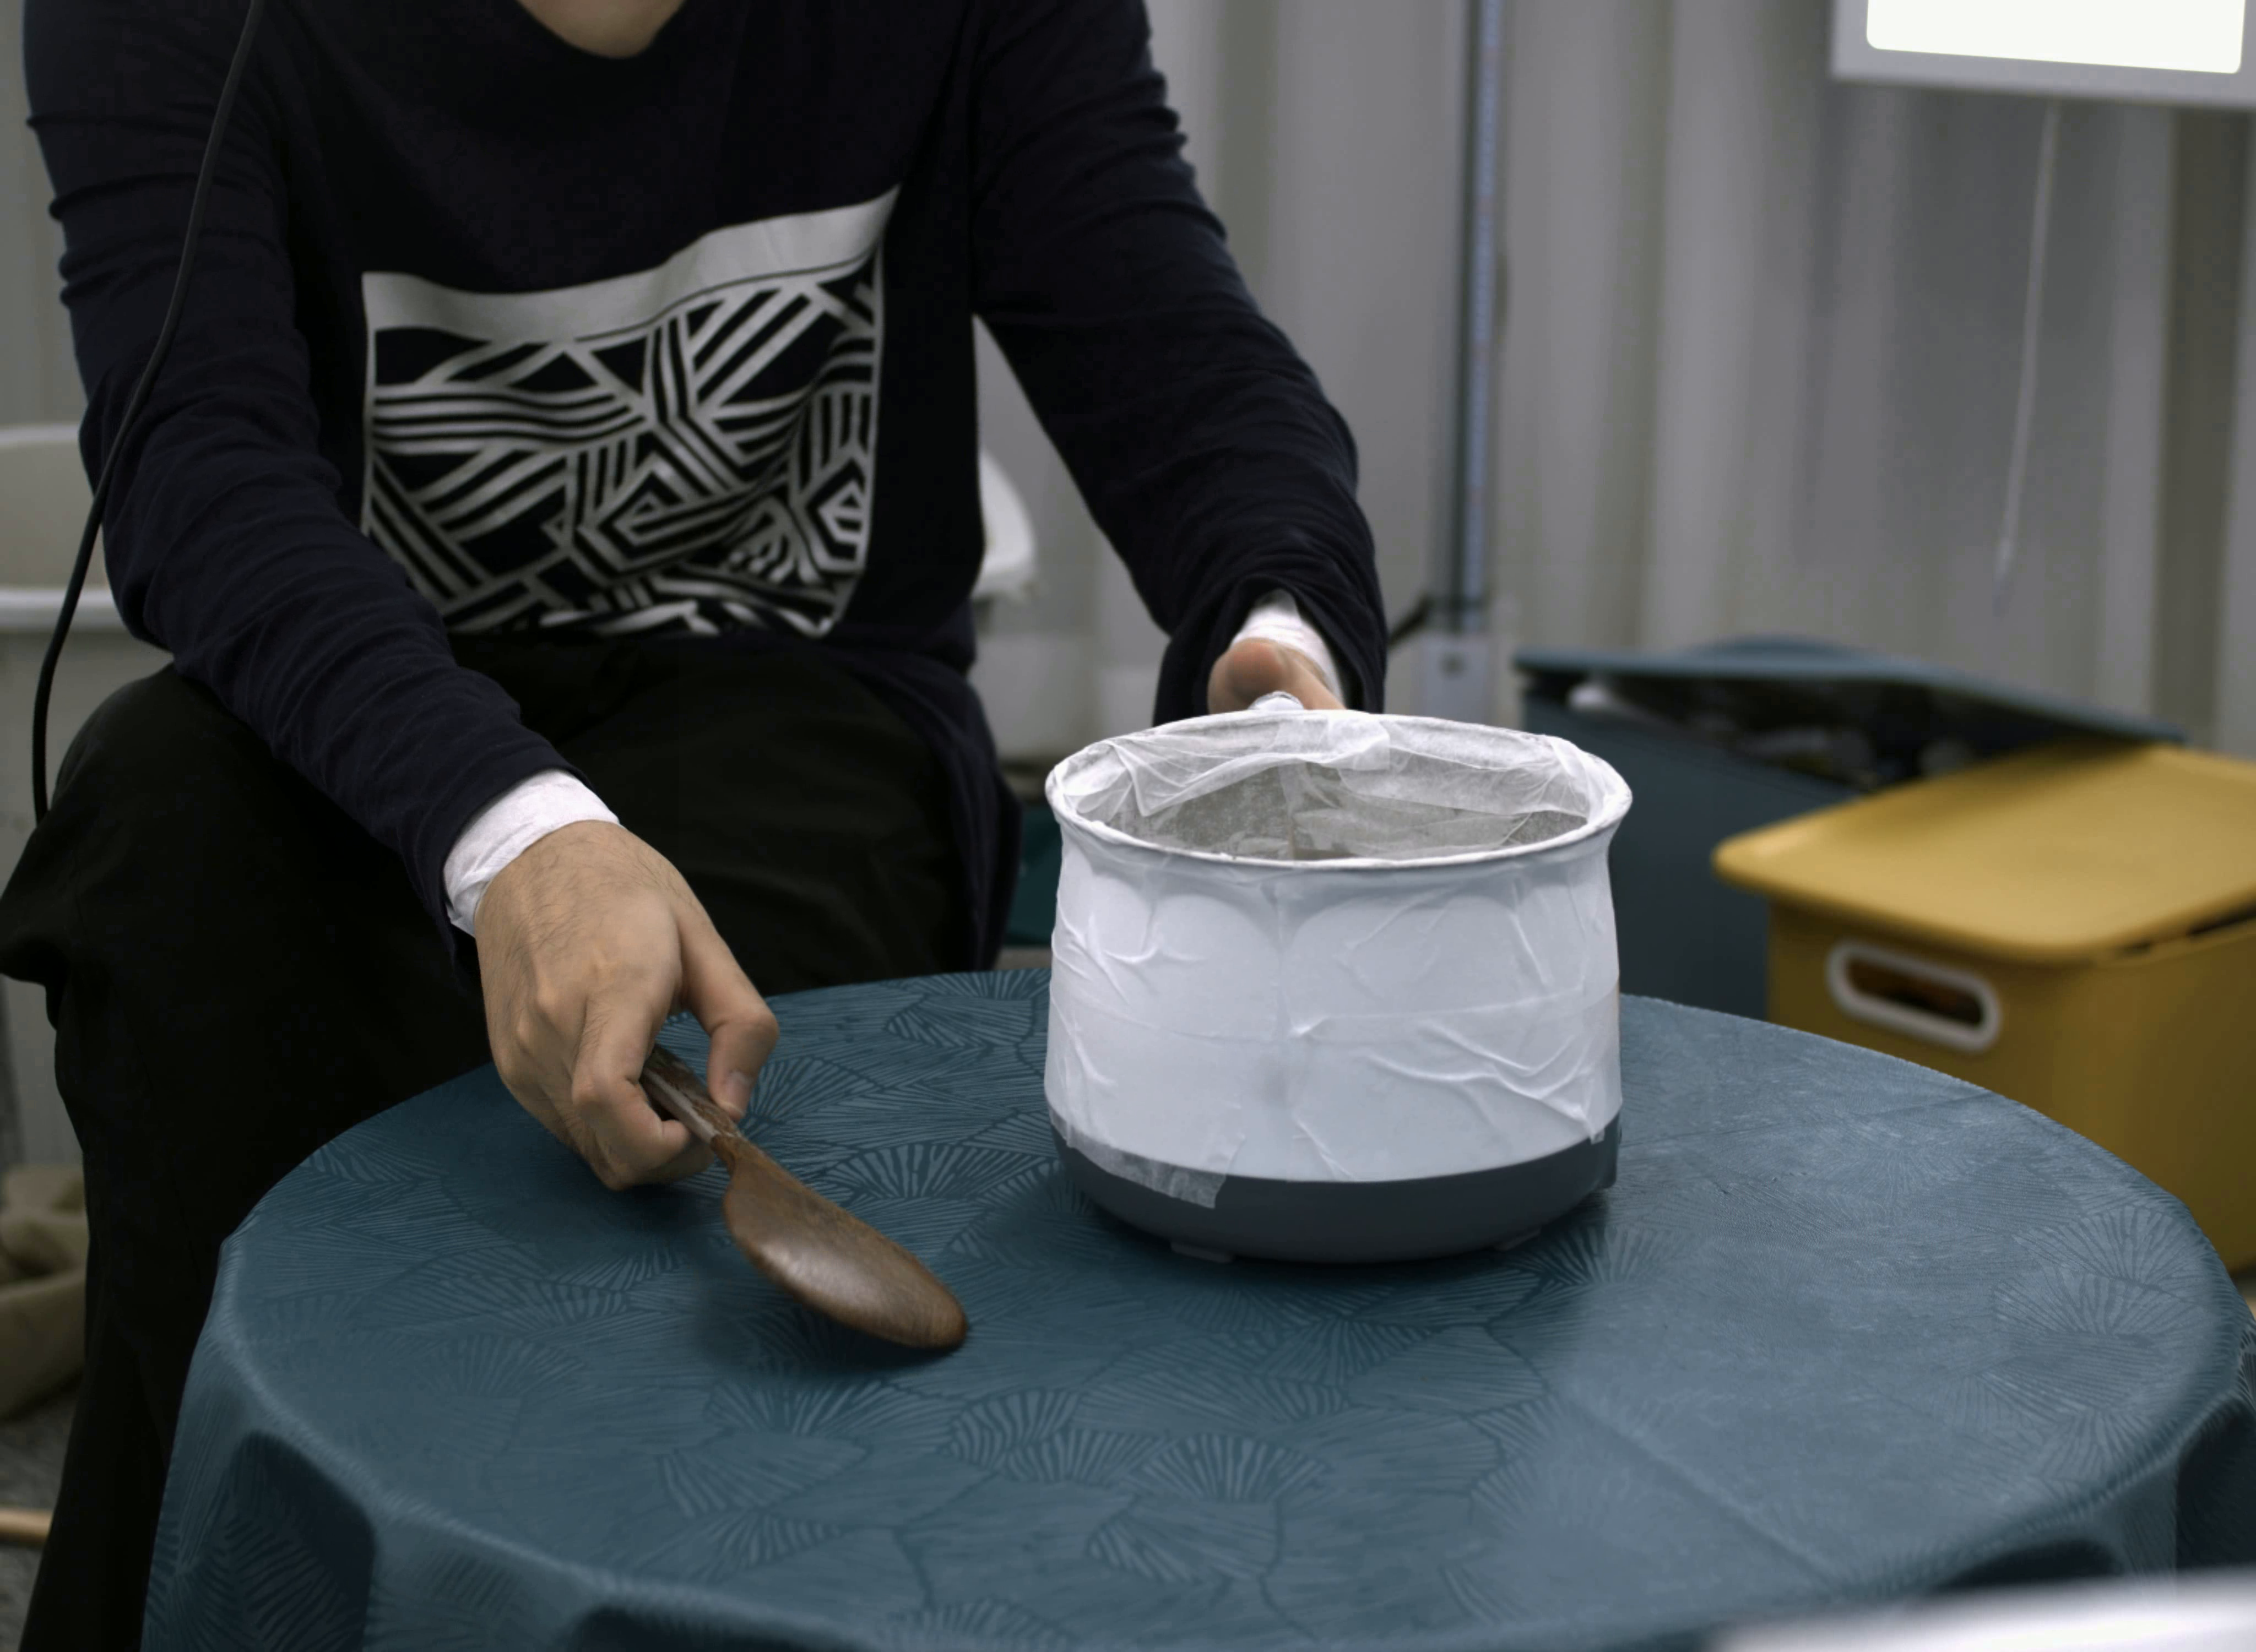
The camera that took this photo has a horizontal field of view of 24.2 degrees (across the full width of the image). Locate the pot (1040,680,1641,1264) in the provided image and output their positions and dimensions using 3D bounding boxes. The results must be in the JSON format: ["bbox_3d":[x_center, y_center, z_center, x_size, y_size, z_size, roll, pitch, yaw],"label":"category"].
[{"bbox_3d":[0.058,0.039,1.626,0.179,0.138,0.231,0,17,-11],"label":"pot"}]

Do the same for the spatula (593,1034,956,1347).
[{"bbox_3d":[-0.112,0.105,1.556,0.072,0.009,0.213,23,8,-33],"label":"spatula"}]
